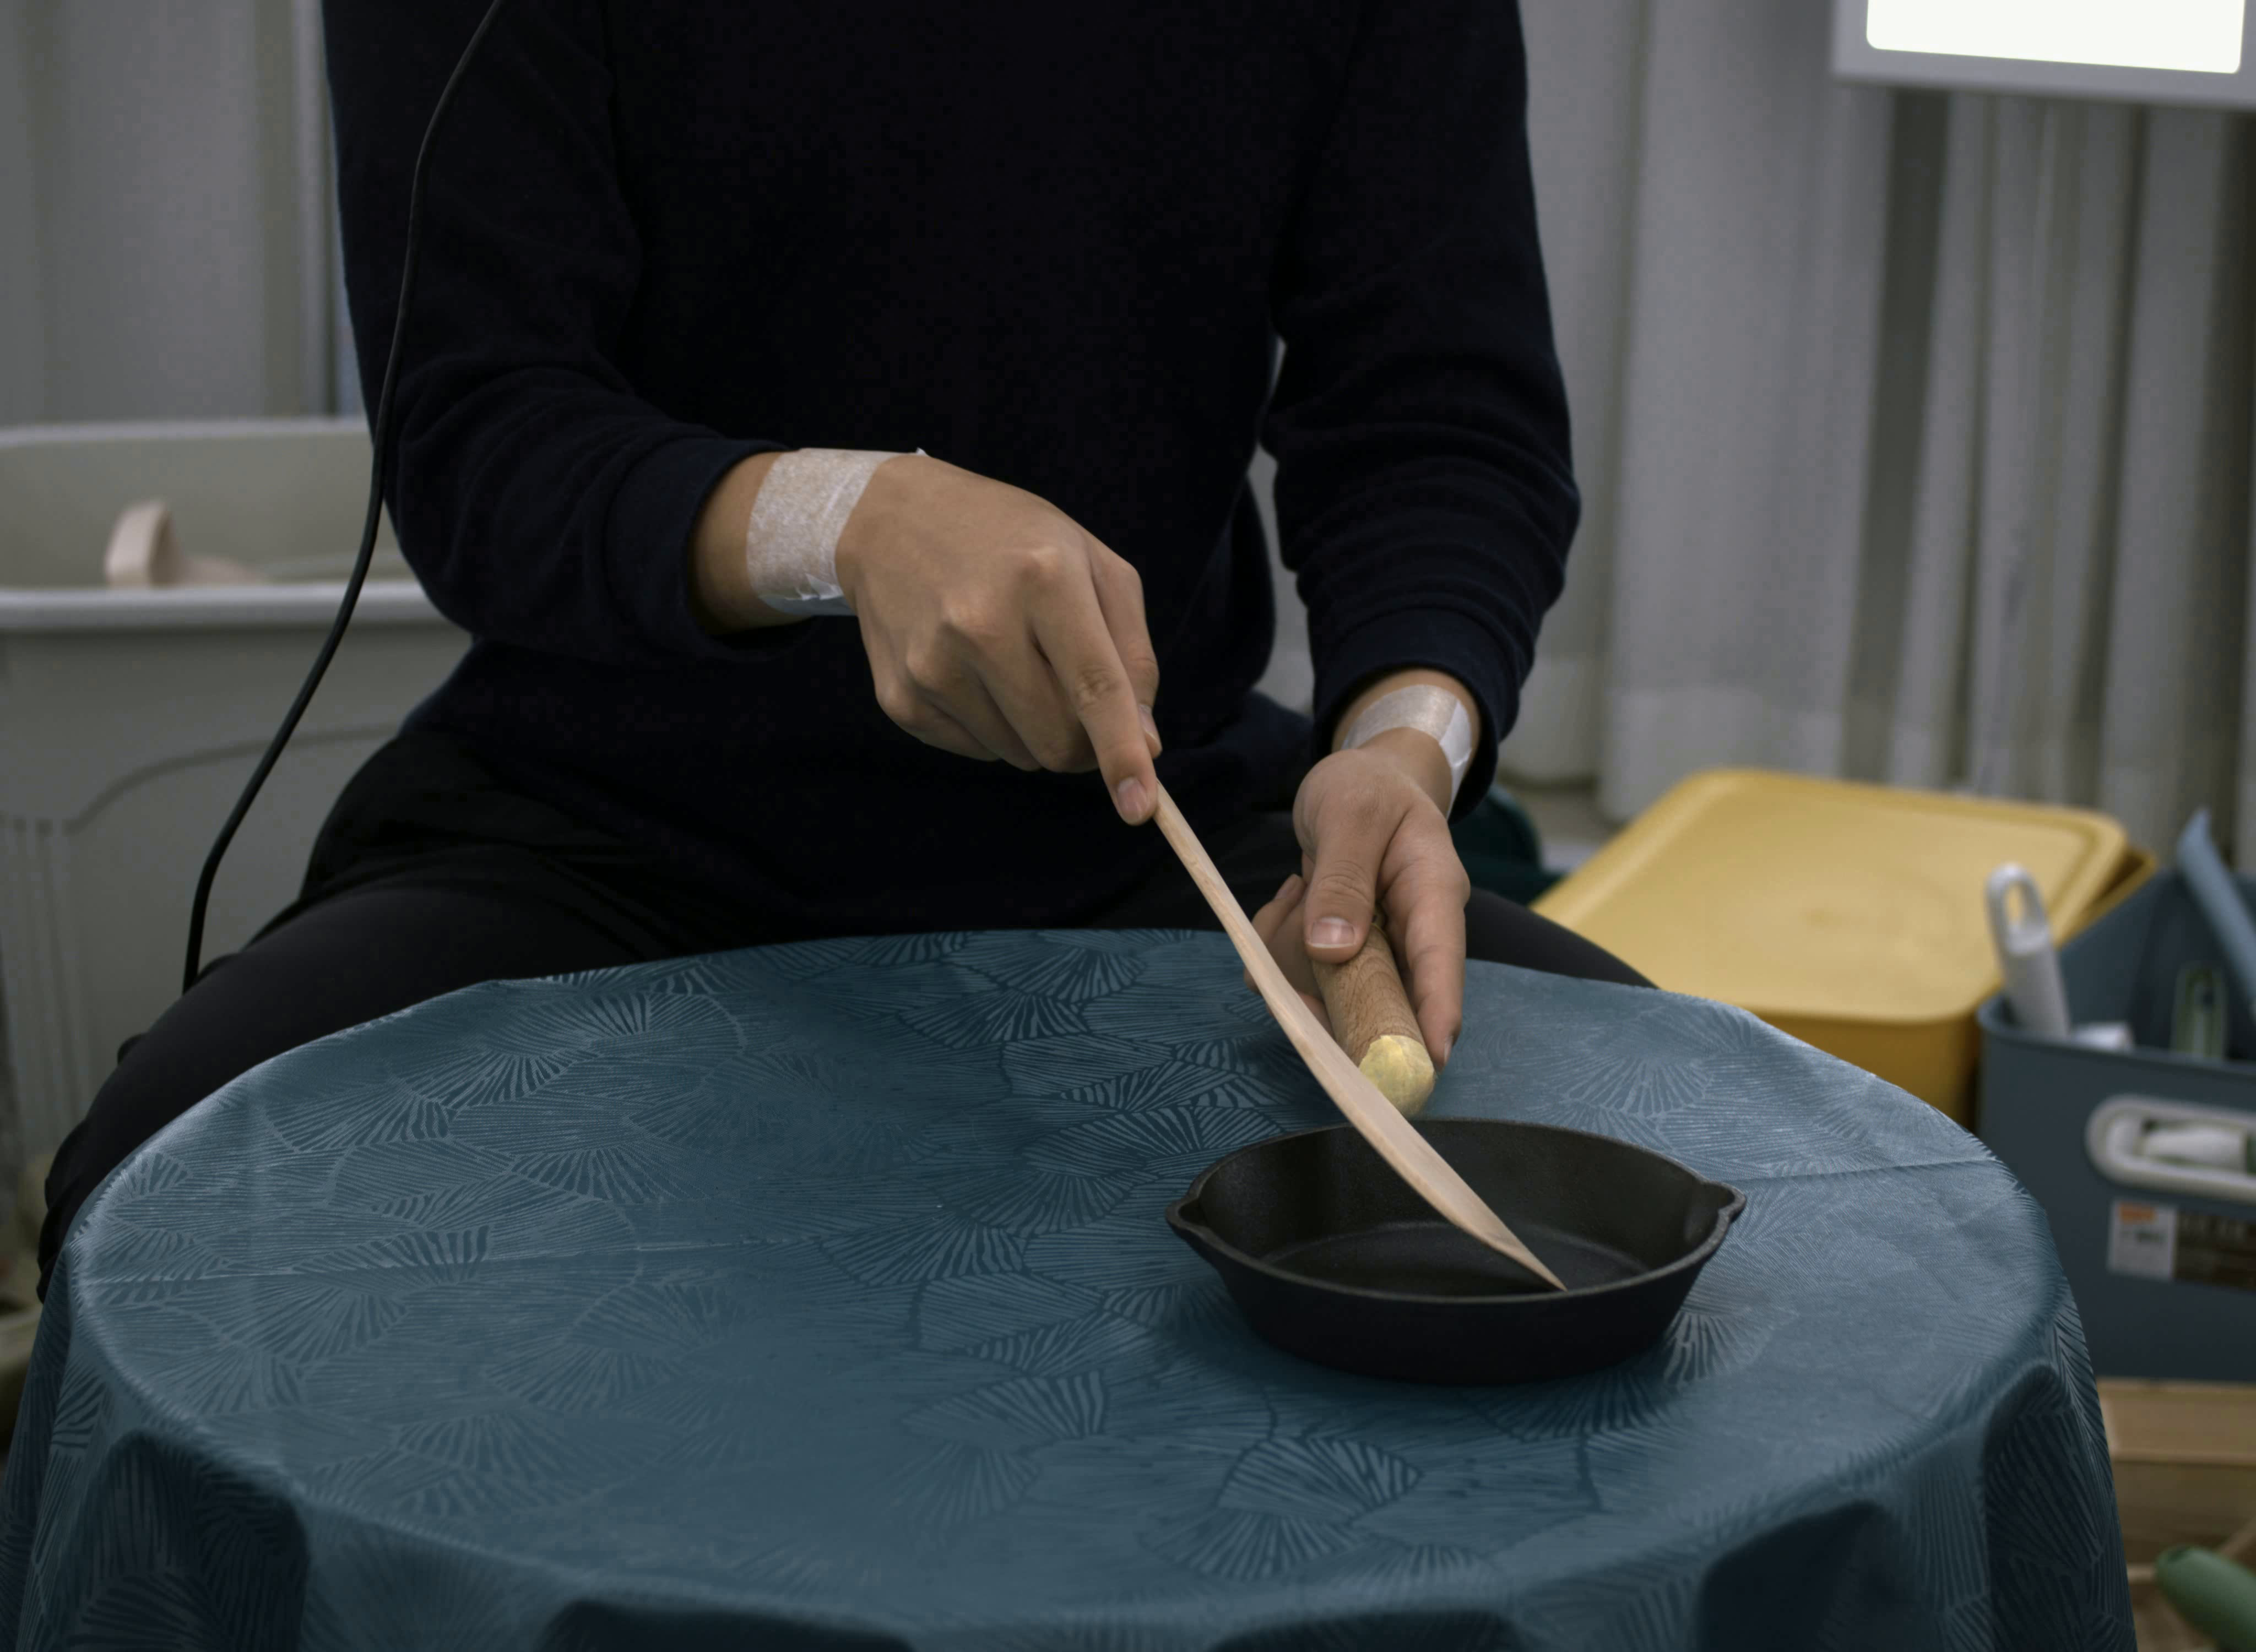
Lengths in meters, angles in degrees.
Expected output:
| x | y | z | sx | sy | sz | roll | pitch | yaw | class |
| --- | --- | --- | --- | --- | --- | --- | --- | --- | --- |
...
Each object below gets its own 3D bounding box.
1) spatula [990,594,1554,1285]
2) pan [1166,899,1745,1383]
| x | y | z | sx | sy | sz | roll | pitch | yaw | class |
| --- | --- | --- | --- | --- | --- | --- | --- | --- | --- |
| 0.038 | 0.030 | 1.594 | 0.081 | 0.016 | 0.323 | 38 | 13 | -51 | spatula |
| 0.089 | 0.092 | 1.601 | 0.168 | 0.050 | 0.322 | 0 | 17 | -4 | pan |
